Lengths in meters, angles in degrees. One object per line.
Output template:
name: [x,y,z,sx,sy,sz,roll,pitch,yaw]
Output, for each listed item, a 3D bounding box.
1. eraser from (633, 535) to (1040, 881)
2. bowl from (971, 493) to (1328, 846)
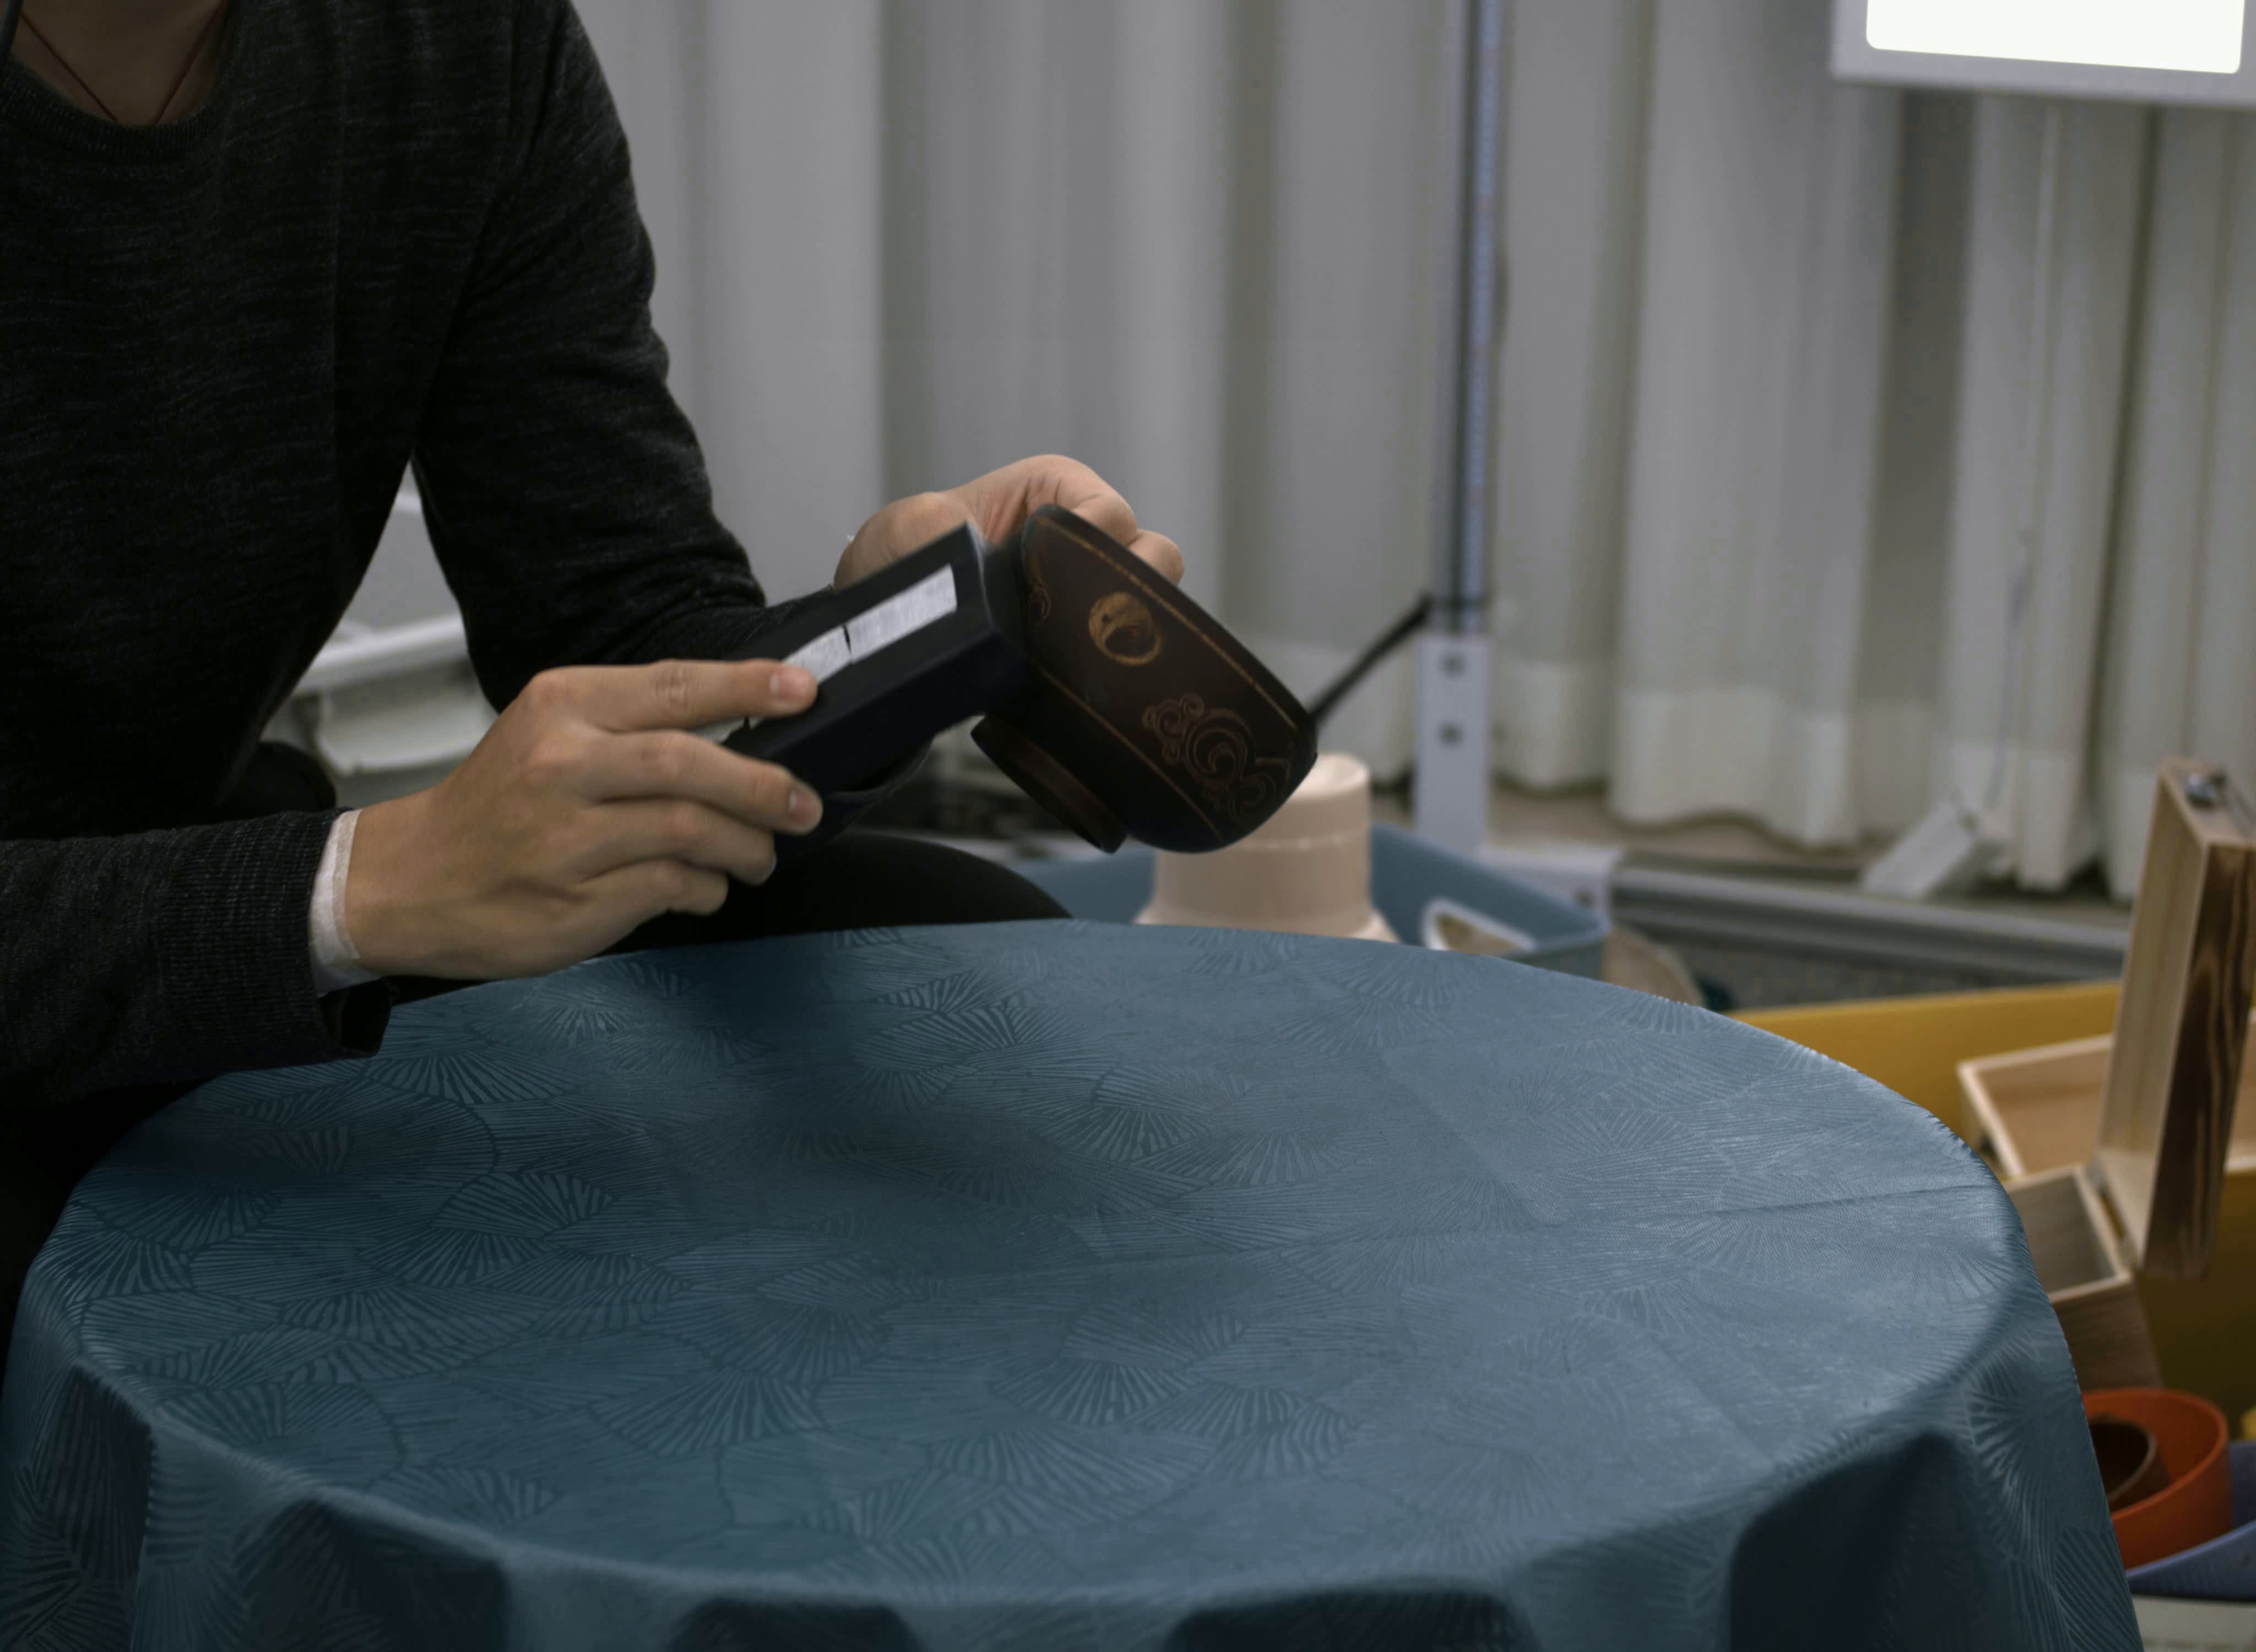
eraser: [-0.086,-0.035,1.544,0.125,0.031,0.053,-29,42,13]
bowl: [-0.005,-0.038,1.593,0.118,0.070,0.118,39,-4,4]
